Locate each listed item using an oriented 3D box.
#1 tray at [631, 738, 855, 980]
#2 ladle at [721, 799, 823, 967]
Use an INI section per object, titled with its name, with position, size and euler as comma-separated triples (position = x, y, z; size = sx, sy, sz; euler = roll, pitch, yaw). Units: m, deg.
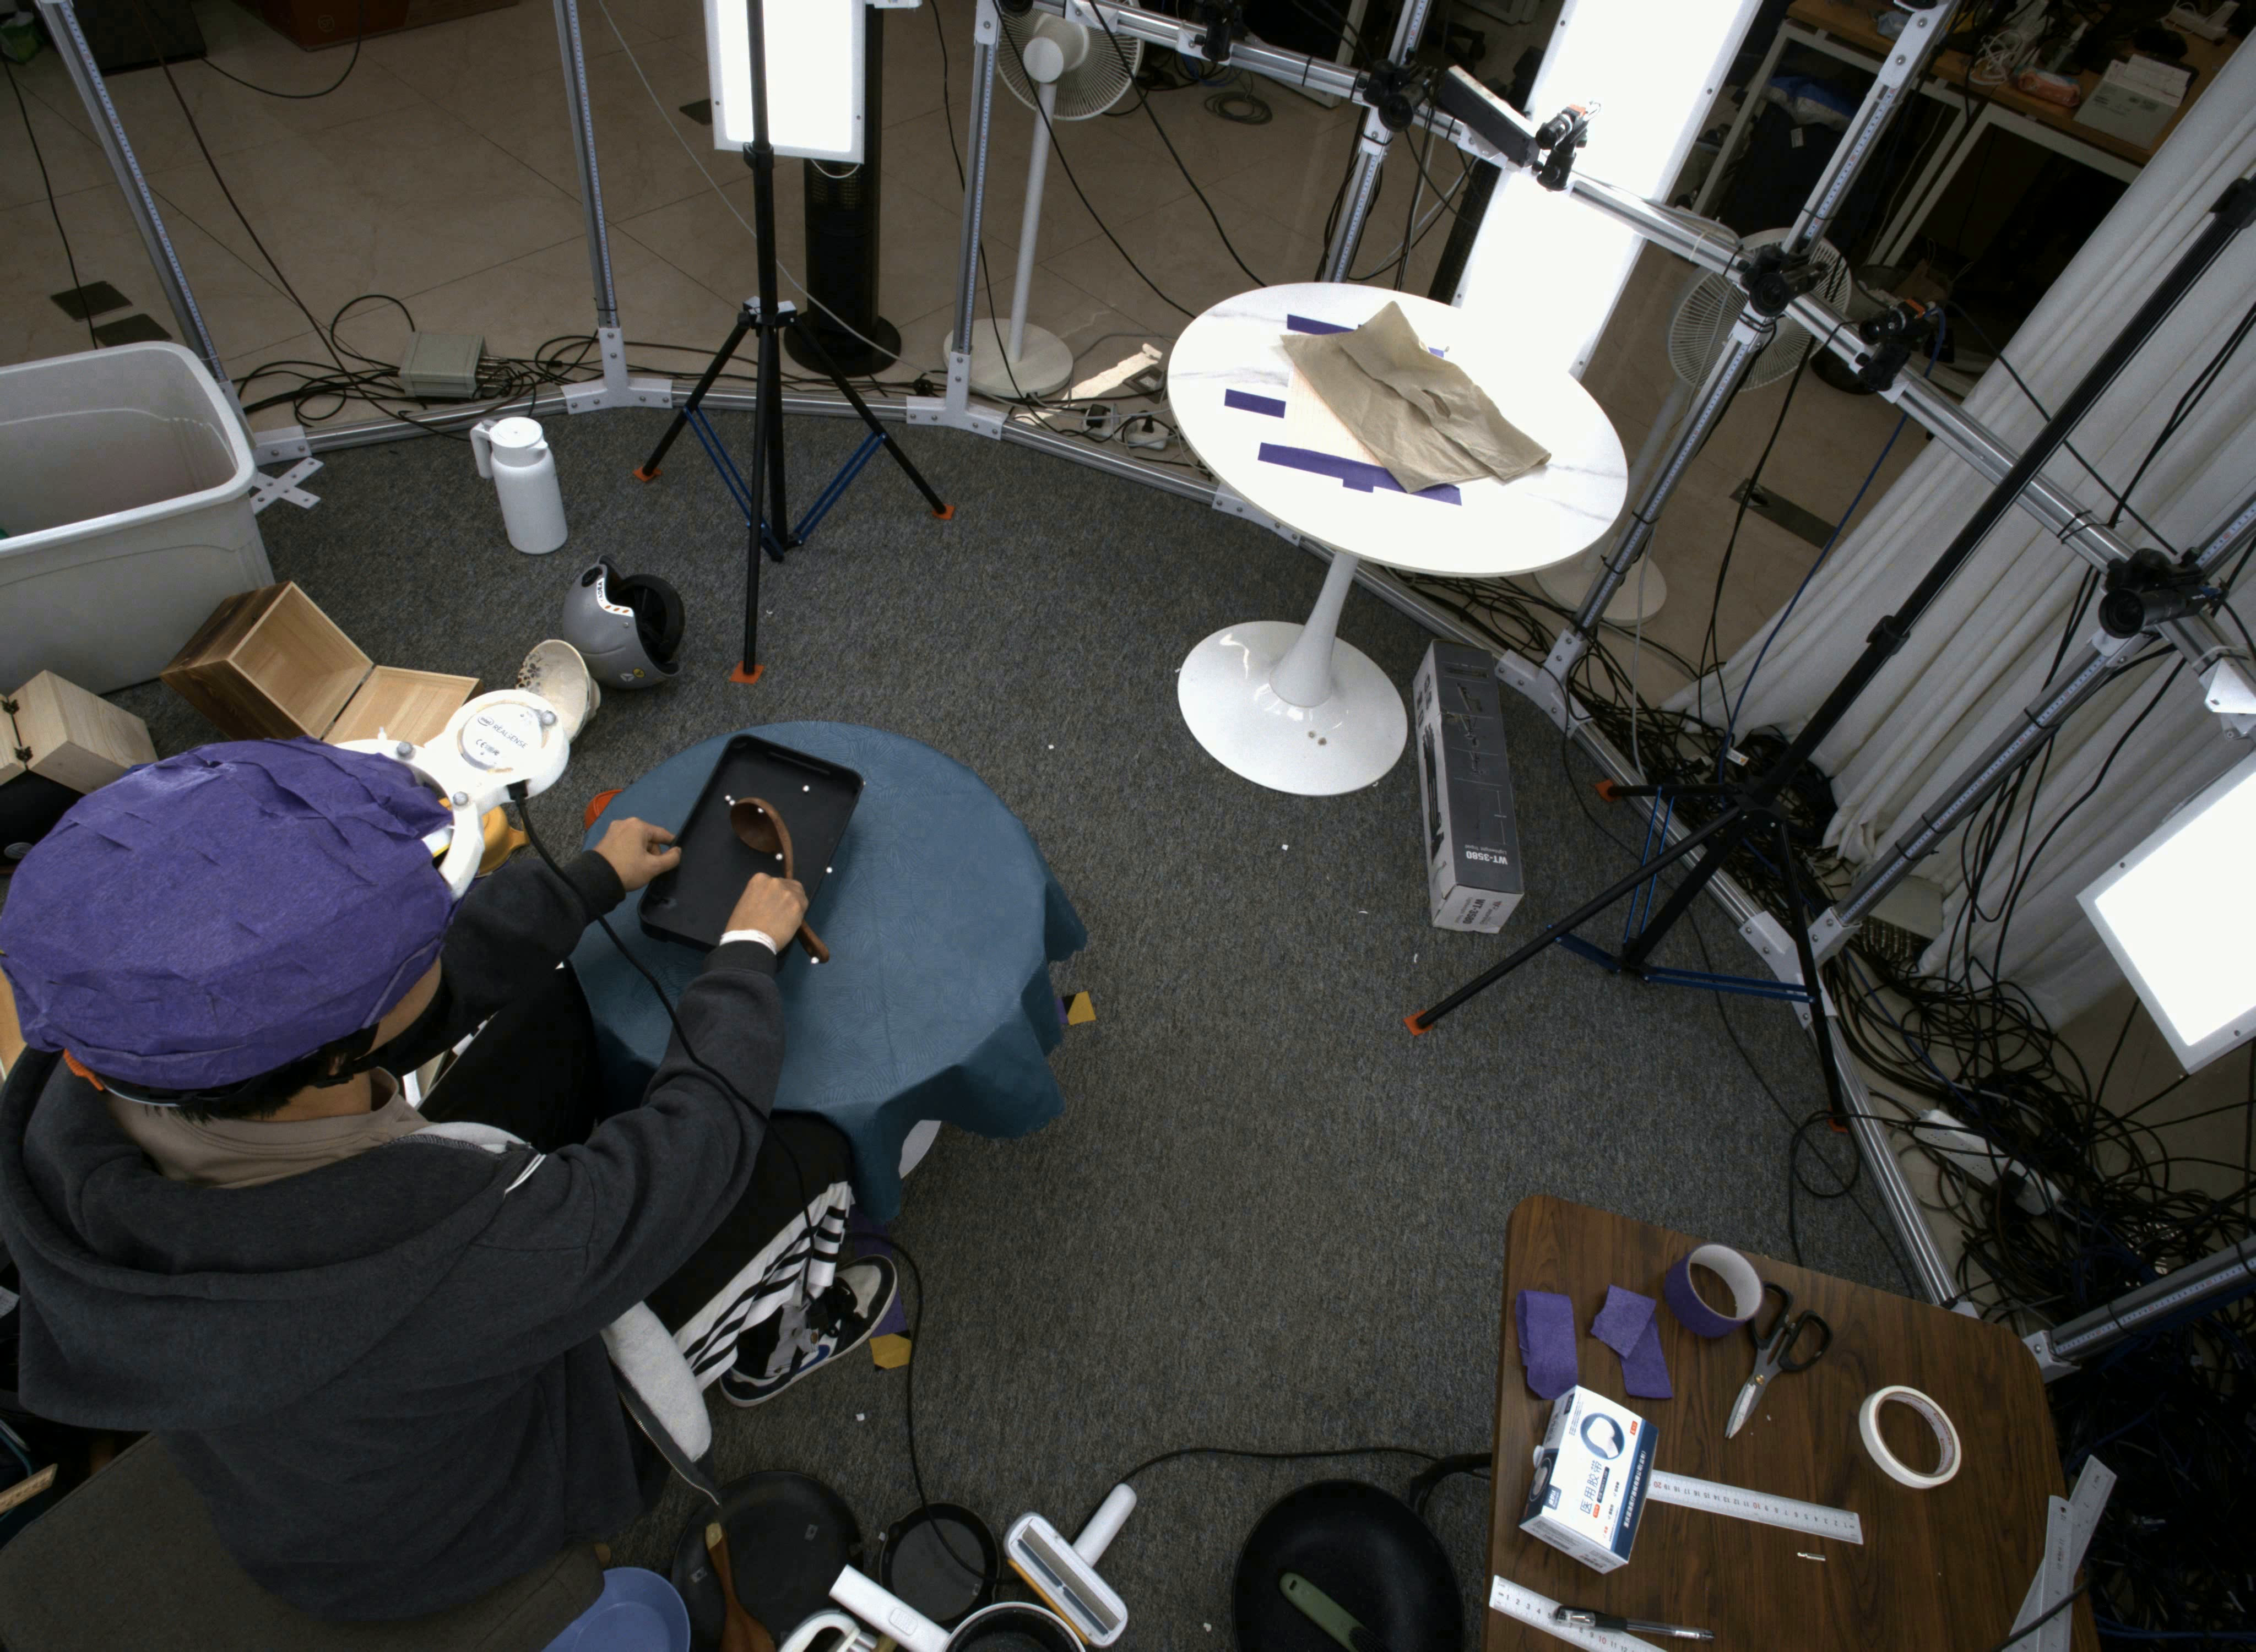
[tray]
position = -0.469, 0.032, 1.597
size = 0.184, 0.037, 0.313
euler = 20, 48, -7
[ladle]
position = -0.427, 0.069, 1.541
size = 0.066, 0.078, 0.252
euler = -8, 50, -28
